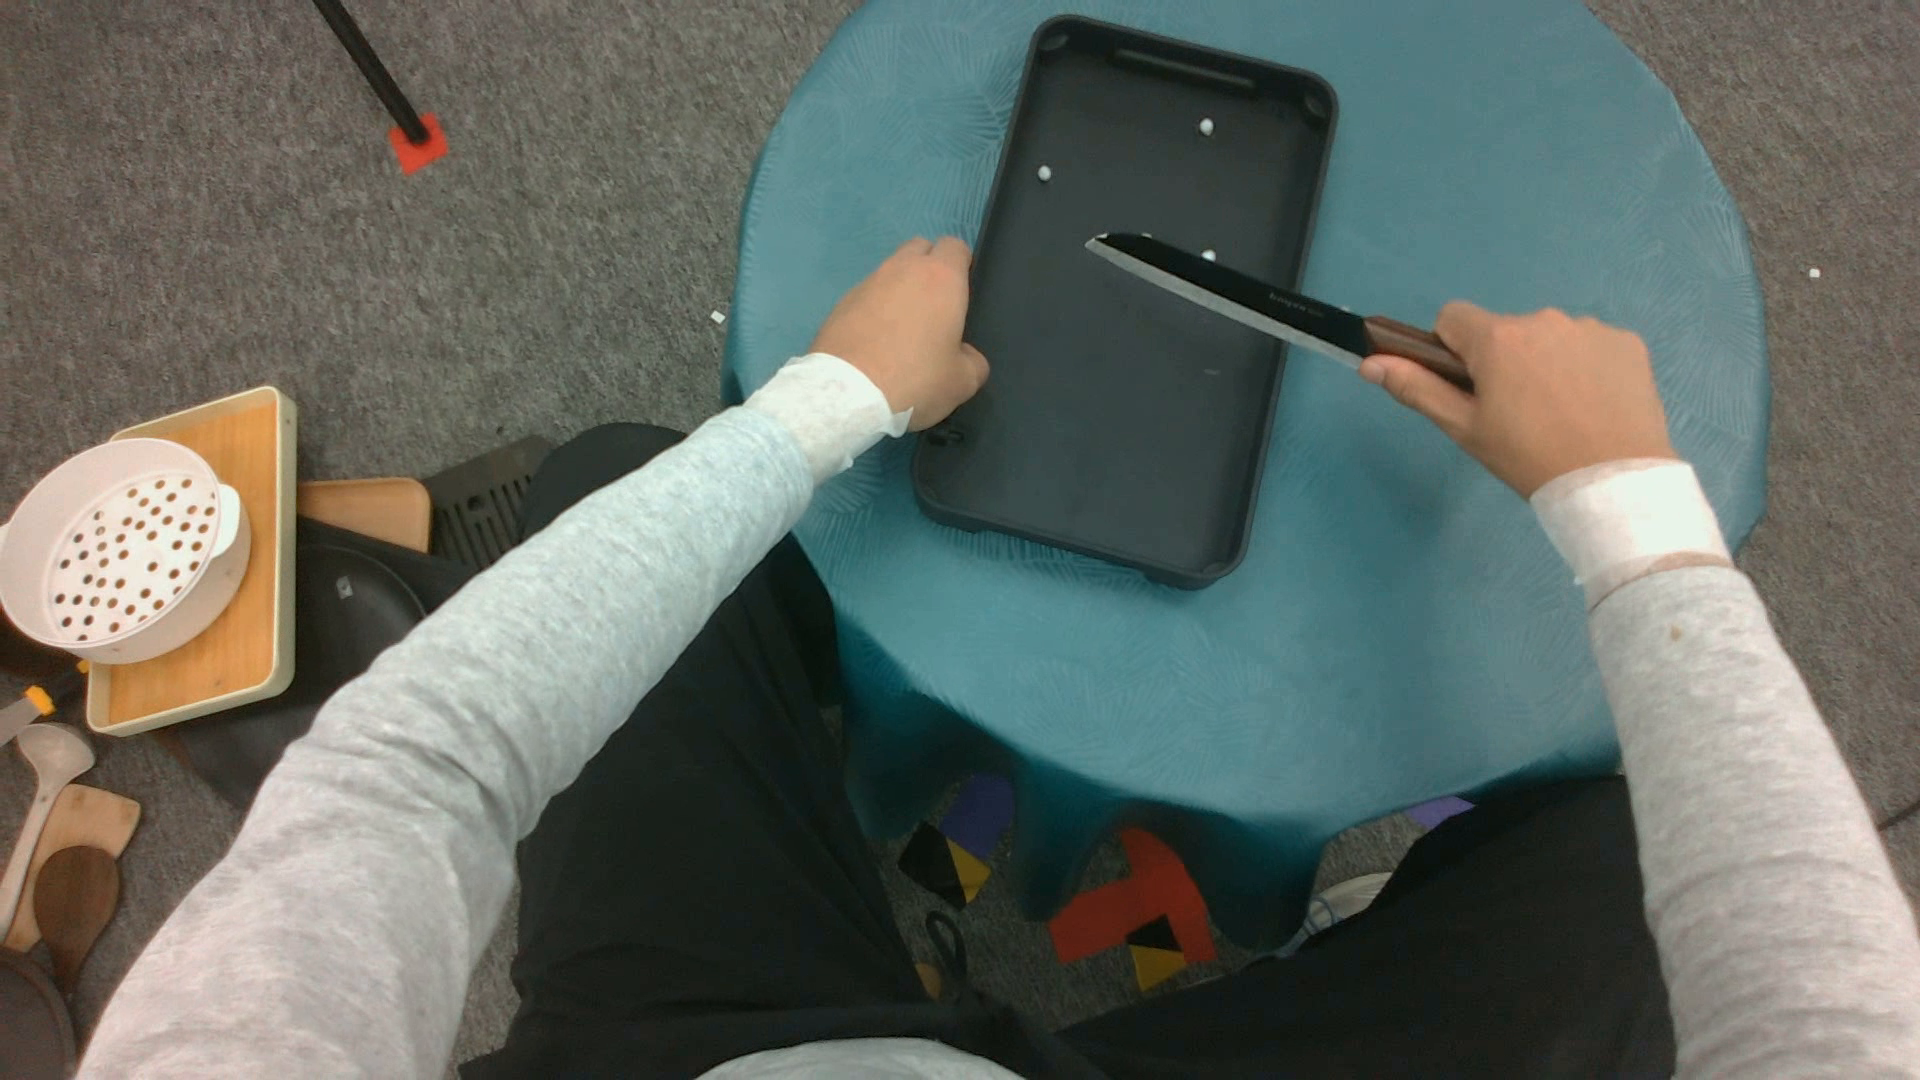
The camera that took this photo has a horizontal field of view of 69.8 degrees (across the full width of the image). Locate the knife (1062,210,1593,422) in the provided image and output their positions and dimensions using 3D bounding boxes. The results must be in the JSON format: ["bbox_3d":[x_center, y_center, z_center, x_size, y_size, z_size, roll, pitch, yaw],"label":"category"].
[{"bbox_3d":[0.179,-0.120,0.715,0.289,0.050,0.020,24,67,21],"label":"knife"}]

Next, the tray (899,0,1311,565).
[{"bbox_3d":[0.086,-0.152,0.778,0.184,0.037,0.319,13,73,1],"label":"tray"}]
